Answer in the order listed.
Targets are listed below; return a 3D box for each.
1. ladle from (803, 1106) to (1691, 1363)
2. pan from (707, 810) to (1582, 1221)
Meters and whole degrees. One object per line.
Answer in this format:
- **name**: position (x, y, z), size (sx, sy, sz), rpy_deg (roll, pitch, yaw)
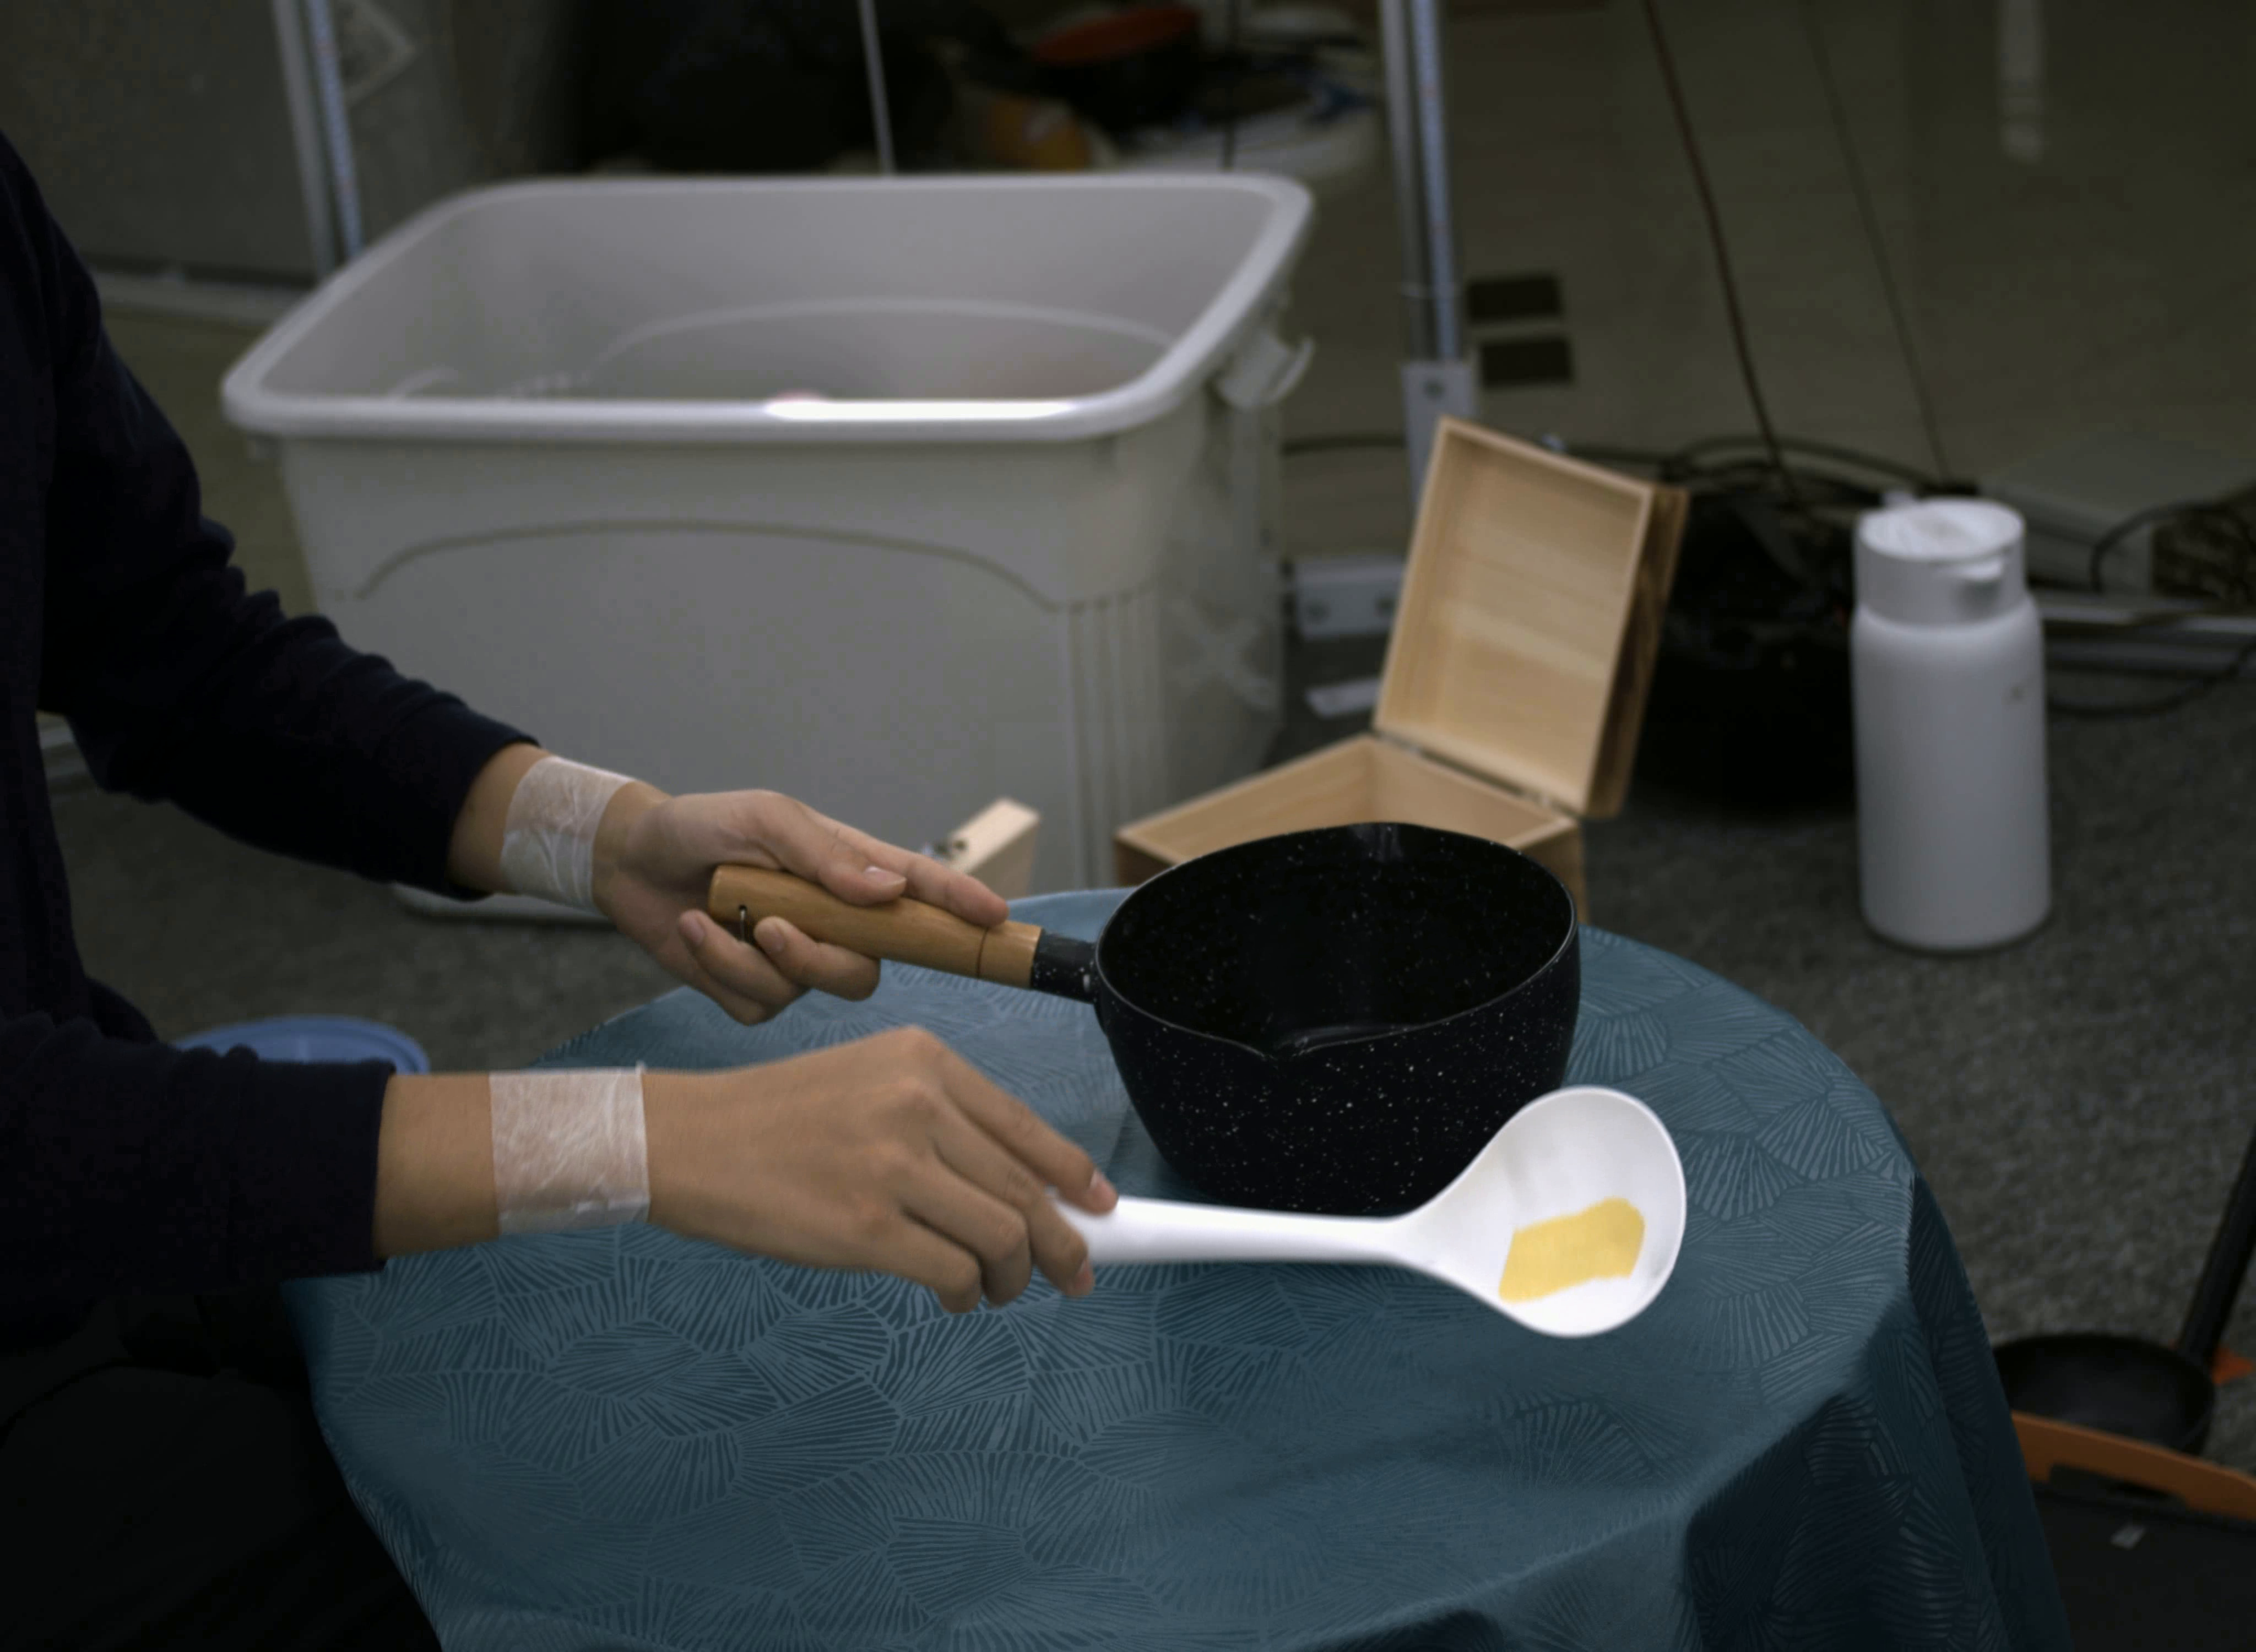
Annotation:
- **ladle**: position (0.041, 0.133, 1.913), size (0.293, 0.089, 0.070), rpy_deg (4, -18, -14)
- **pan**: position (0.004, 0.066, 2.173), size (0.342, 0.110, 0.204), rpy_deg (1, 27, 14)
